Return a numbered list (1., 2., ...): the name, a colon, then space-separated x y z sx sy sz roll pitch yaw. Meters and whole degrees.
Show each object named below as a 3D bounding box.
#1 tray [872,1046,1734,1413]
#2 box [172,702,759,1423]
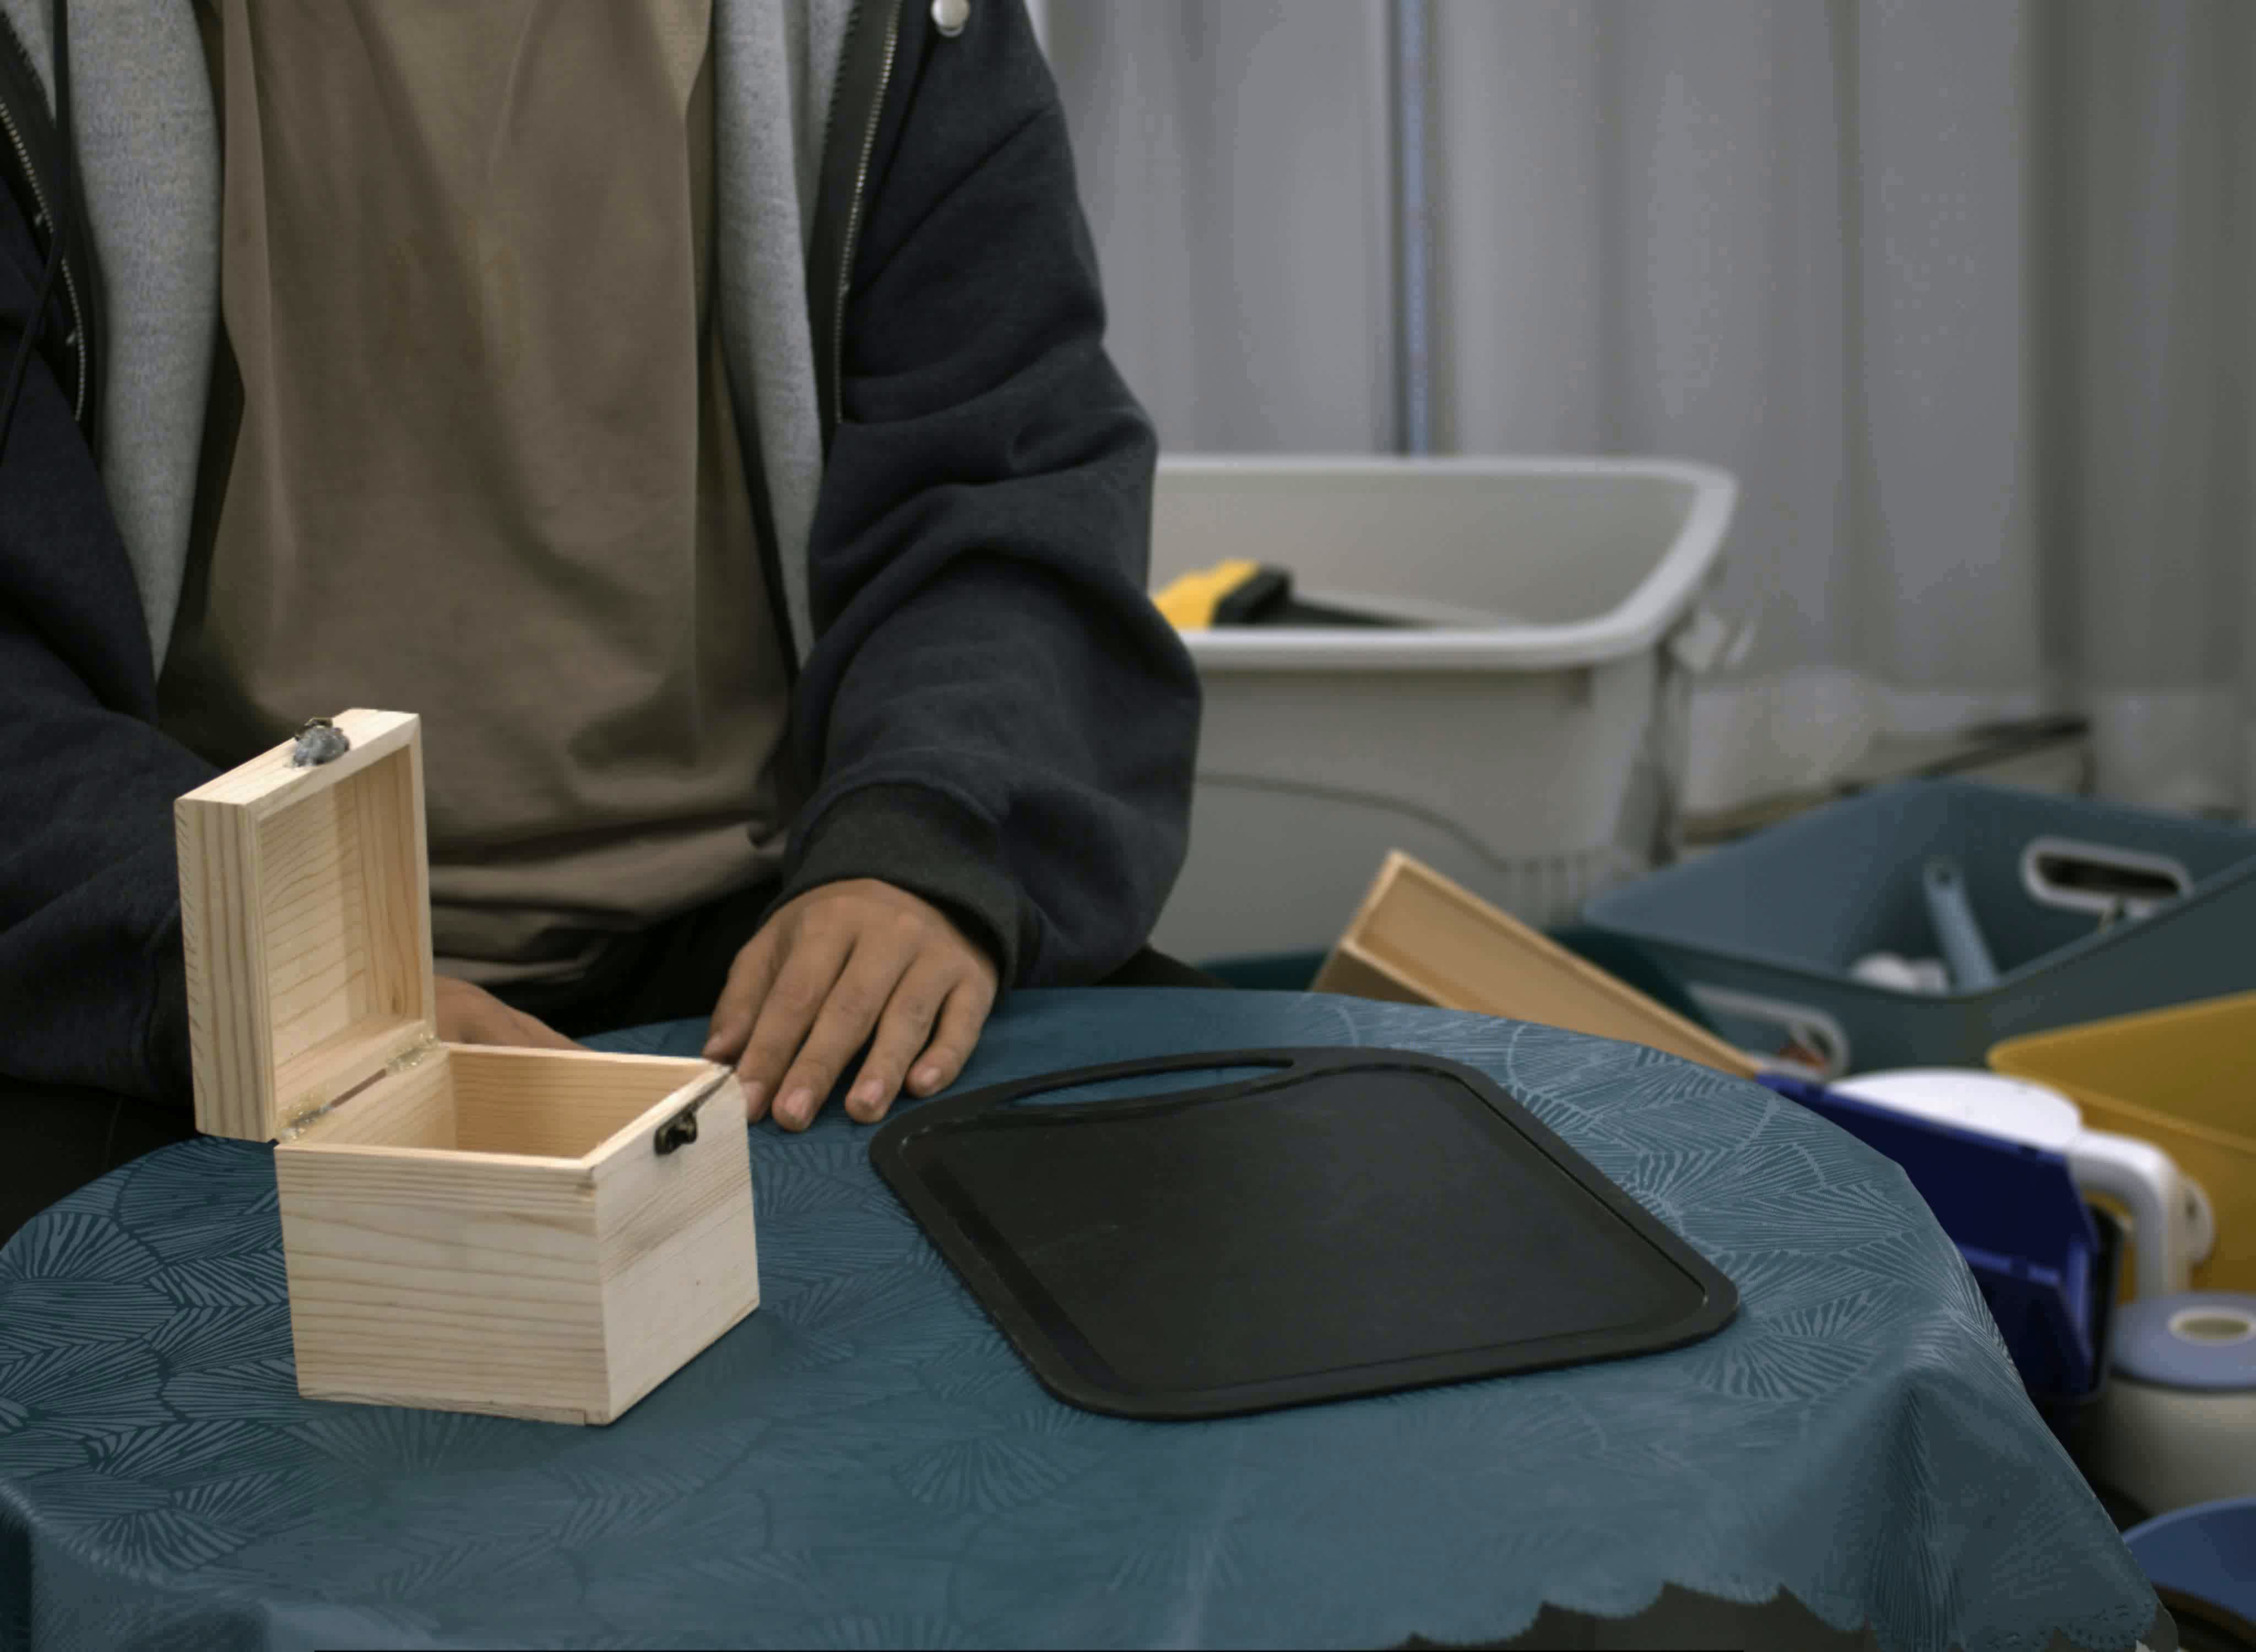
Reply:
1. tray: 0.043 0.117 1.686 0.210 0.010 0.328 -7 15 -14
2. box: -0.187 0.065 1.582 0.134 0.184 0.103 2 15 21
